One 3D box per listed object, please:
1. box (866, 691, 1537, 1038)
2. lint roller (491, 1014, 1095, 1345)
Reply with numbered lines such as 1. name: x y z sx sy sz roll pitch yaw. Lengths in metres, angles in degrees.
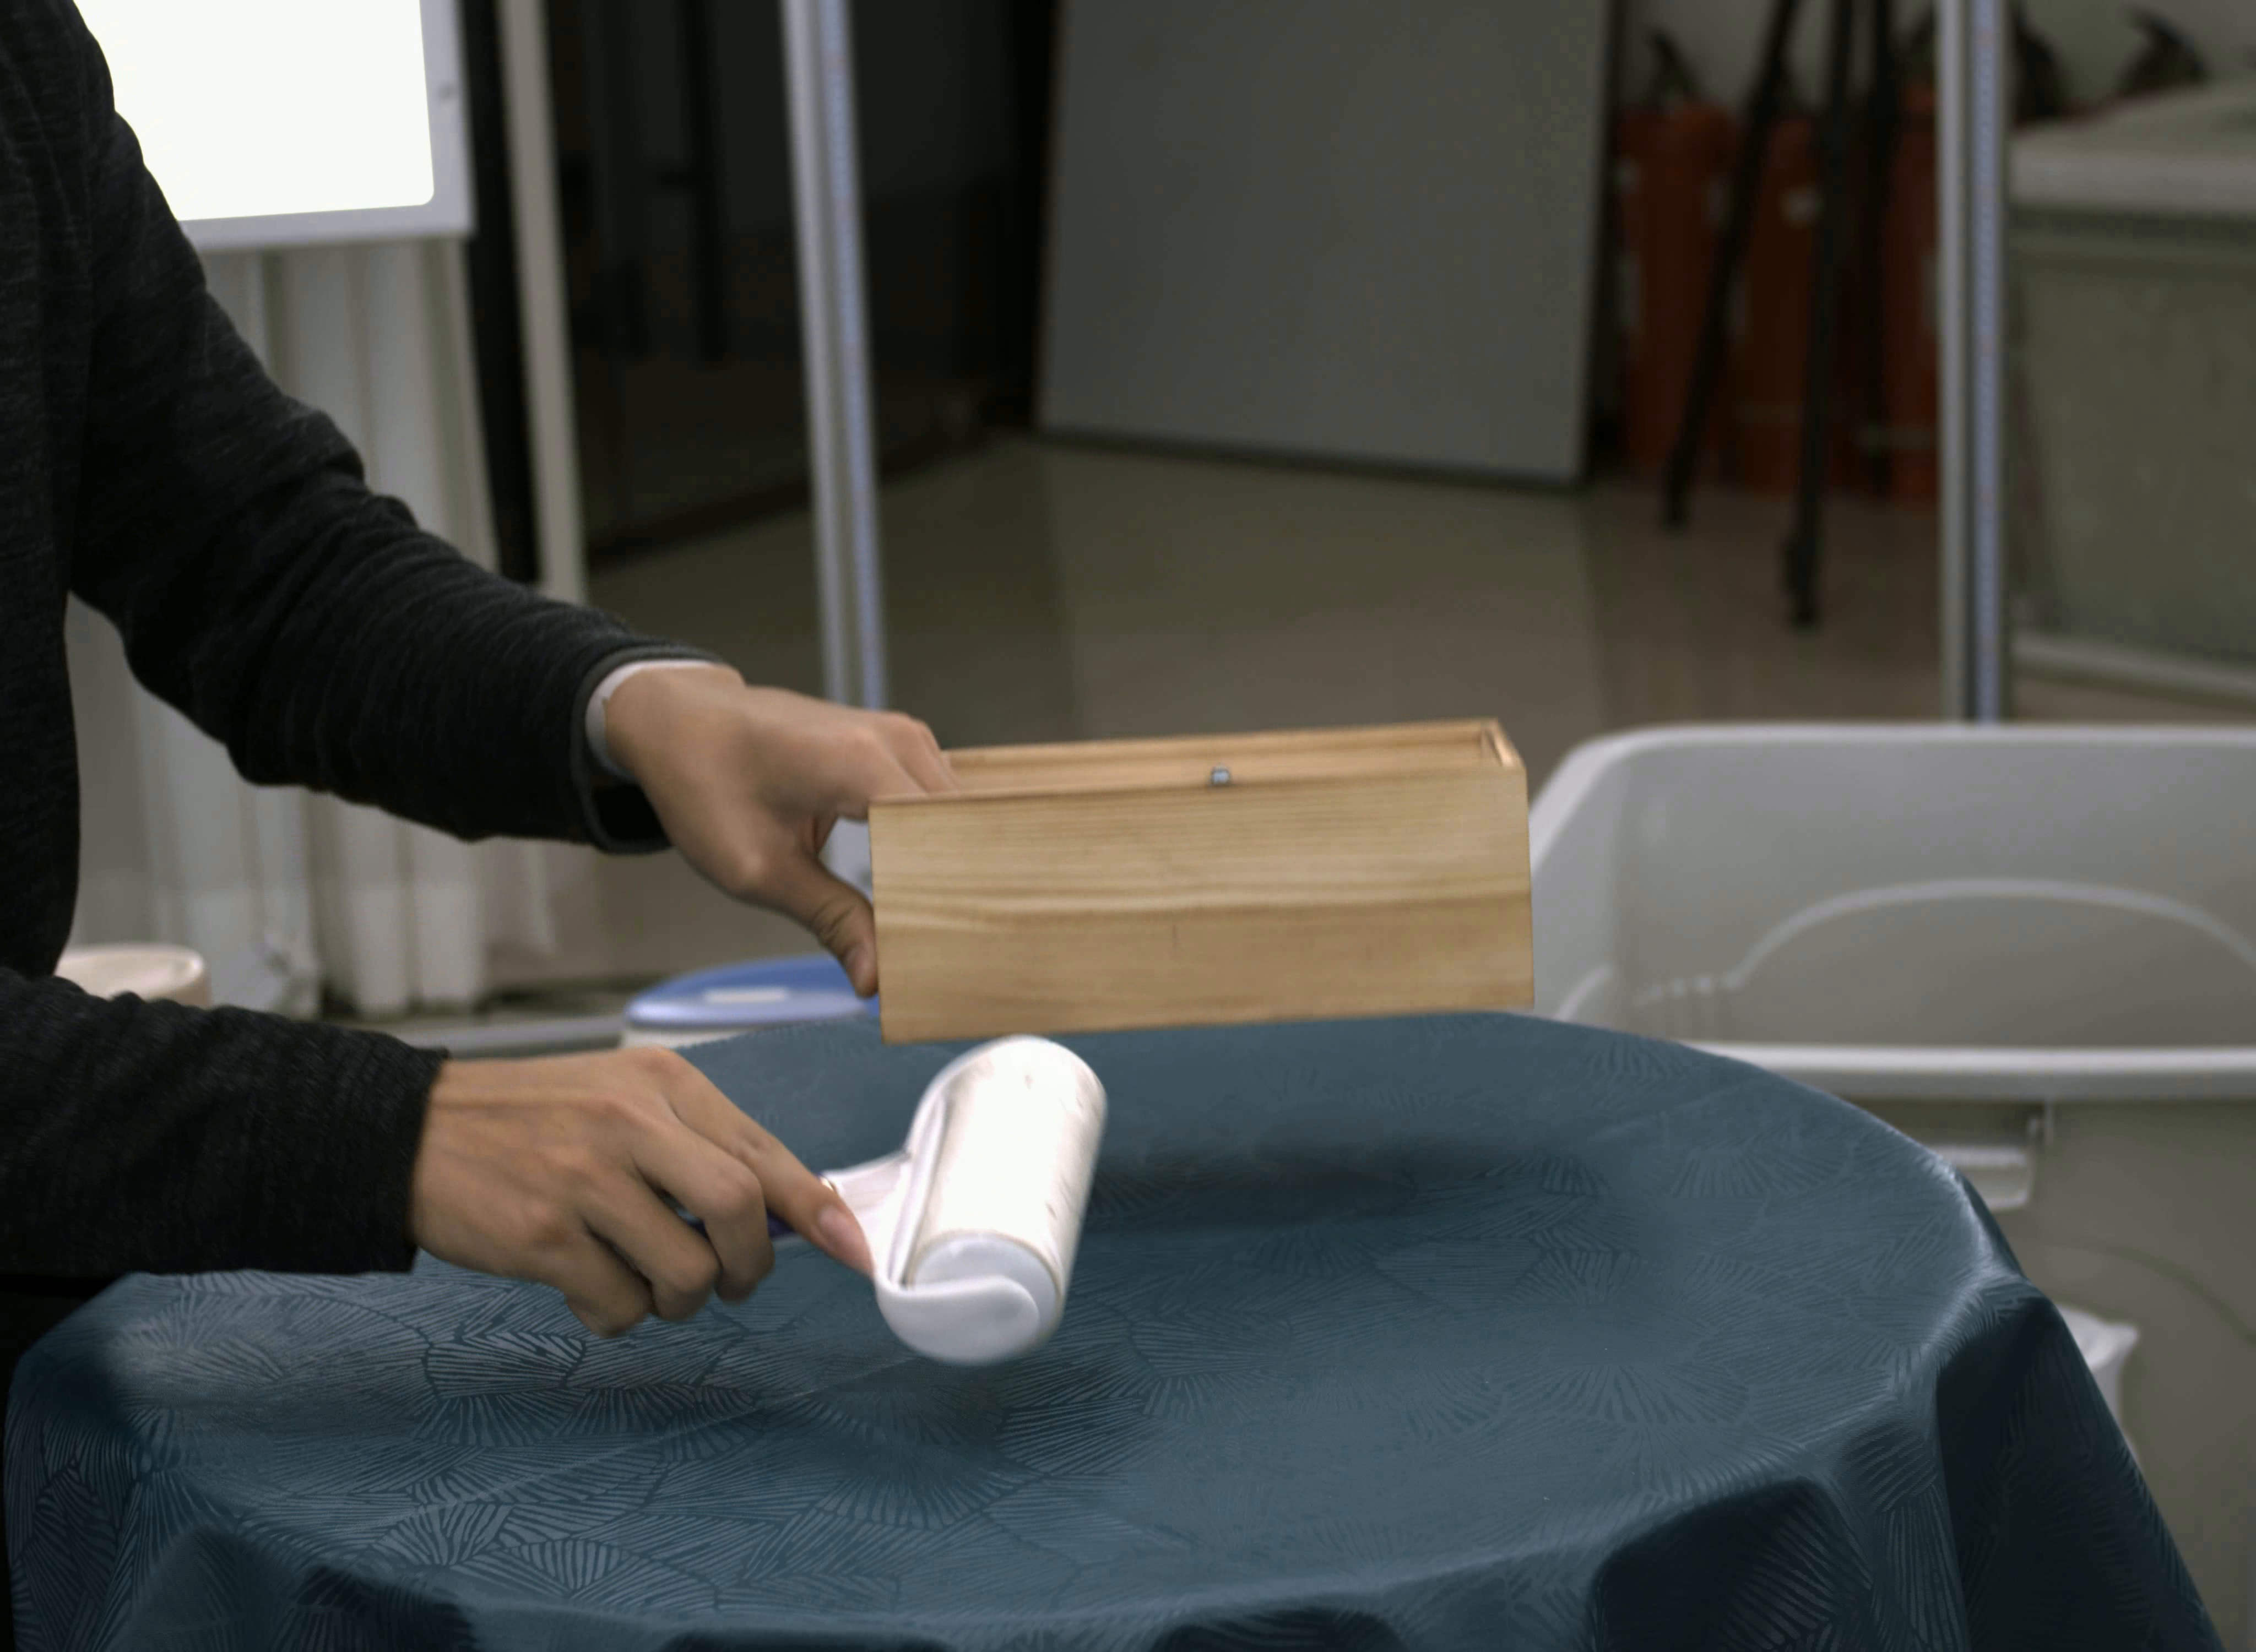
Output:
1. box: 0.024 0.011 1.757 0.209 0.081 0.107 -5 8 2
2. lint roller: -0.101 0.101 1.592 0.179 0.050 0.133 2 32 9
